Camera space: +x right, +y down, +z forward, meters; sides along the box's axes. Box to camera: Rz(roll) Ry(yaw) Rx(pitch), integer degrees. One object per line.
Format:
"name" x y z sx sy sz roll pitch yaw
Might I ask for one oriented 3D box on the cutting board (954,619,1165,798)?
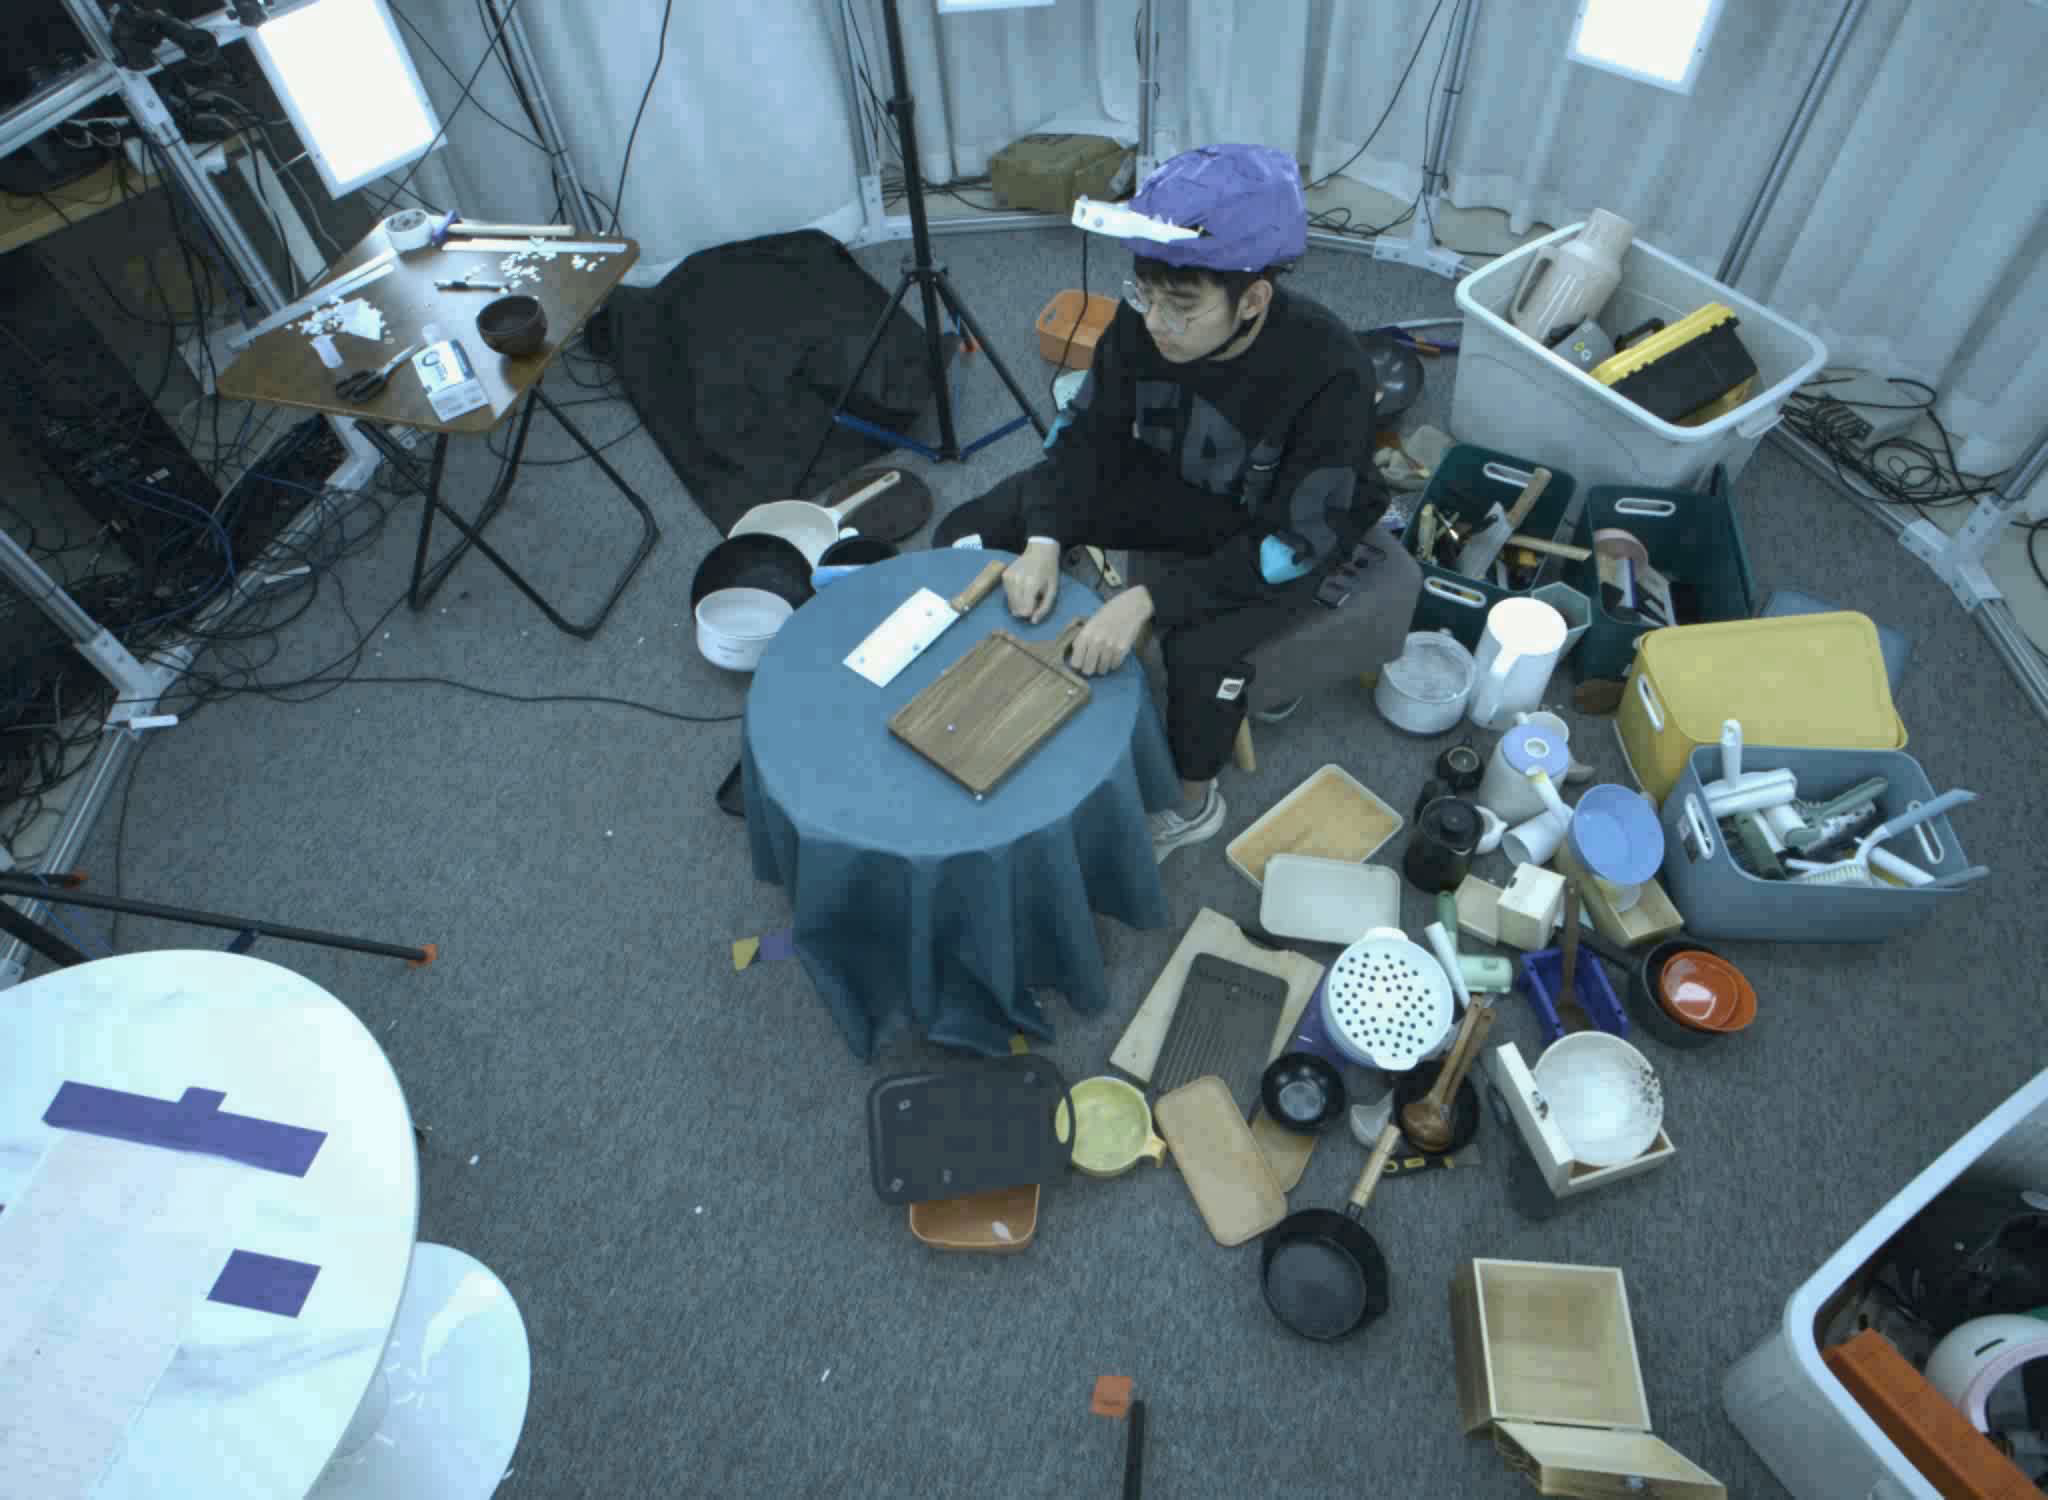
"cutting board" 0.086 -0.089 1.834 0.354 0.023 0.197 -39 62 -23

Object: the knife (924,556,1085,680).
"knife" -0.034 -0.222 1.936 0.091 0.021 0.307 37 66 26
